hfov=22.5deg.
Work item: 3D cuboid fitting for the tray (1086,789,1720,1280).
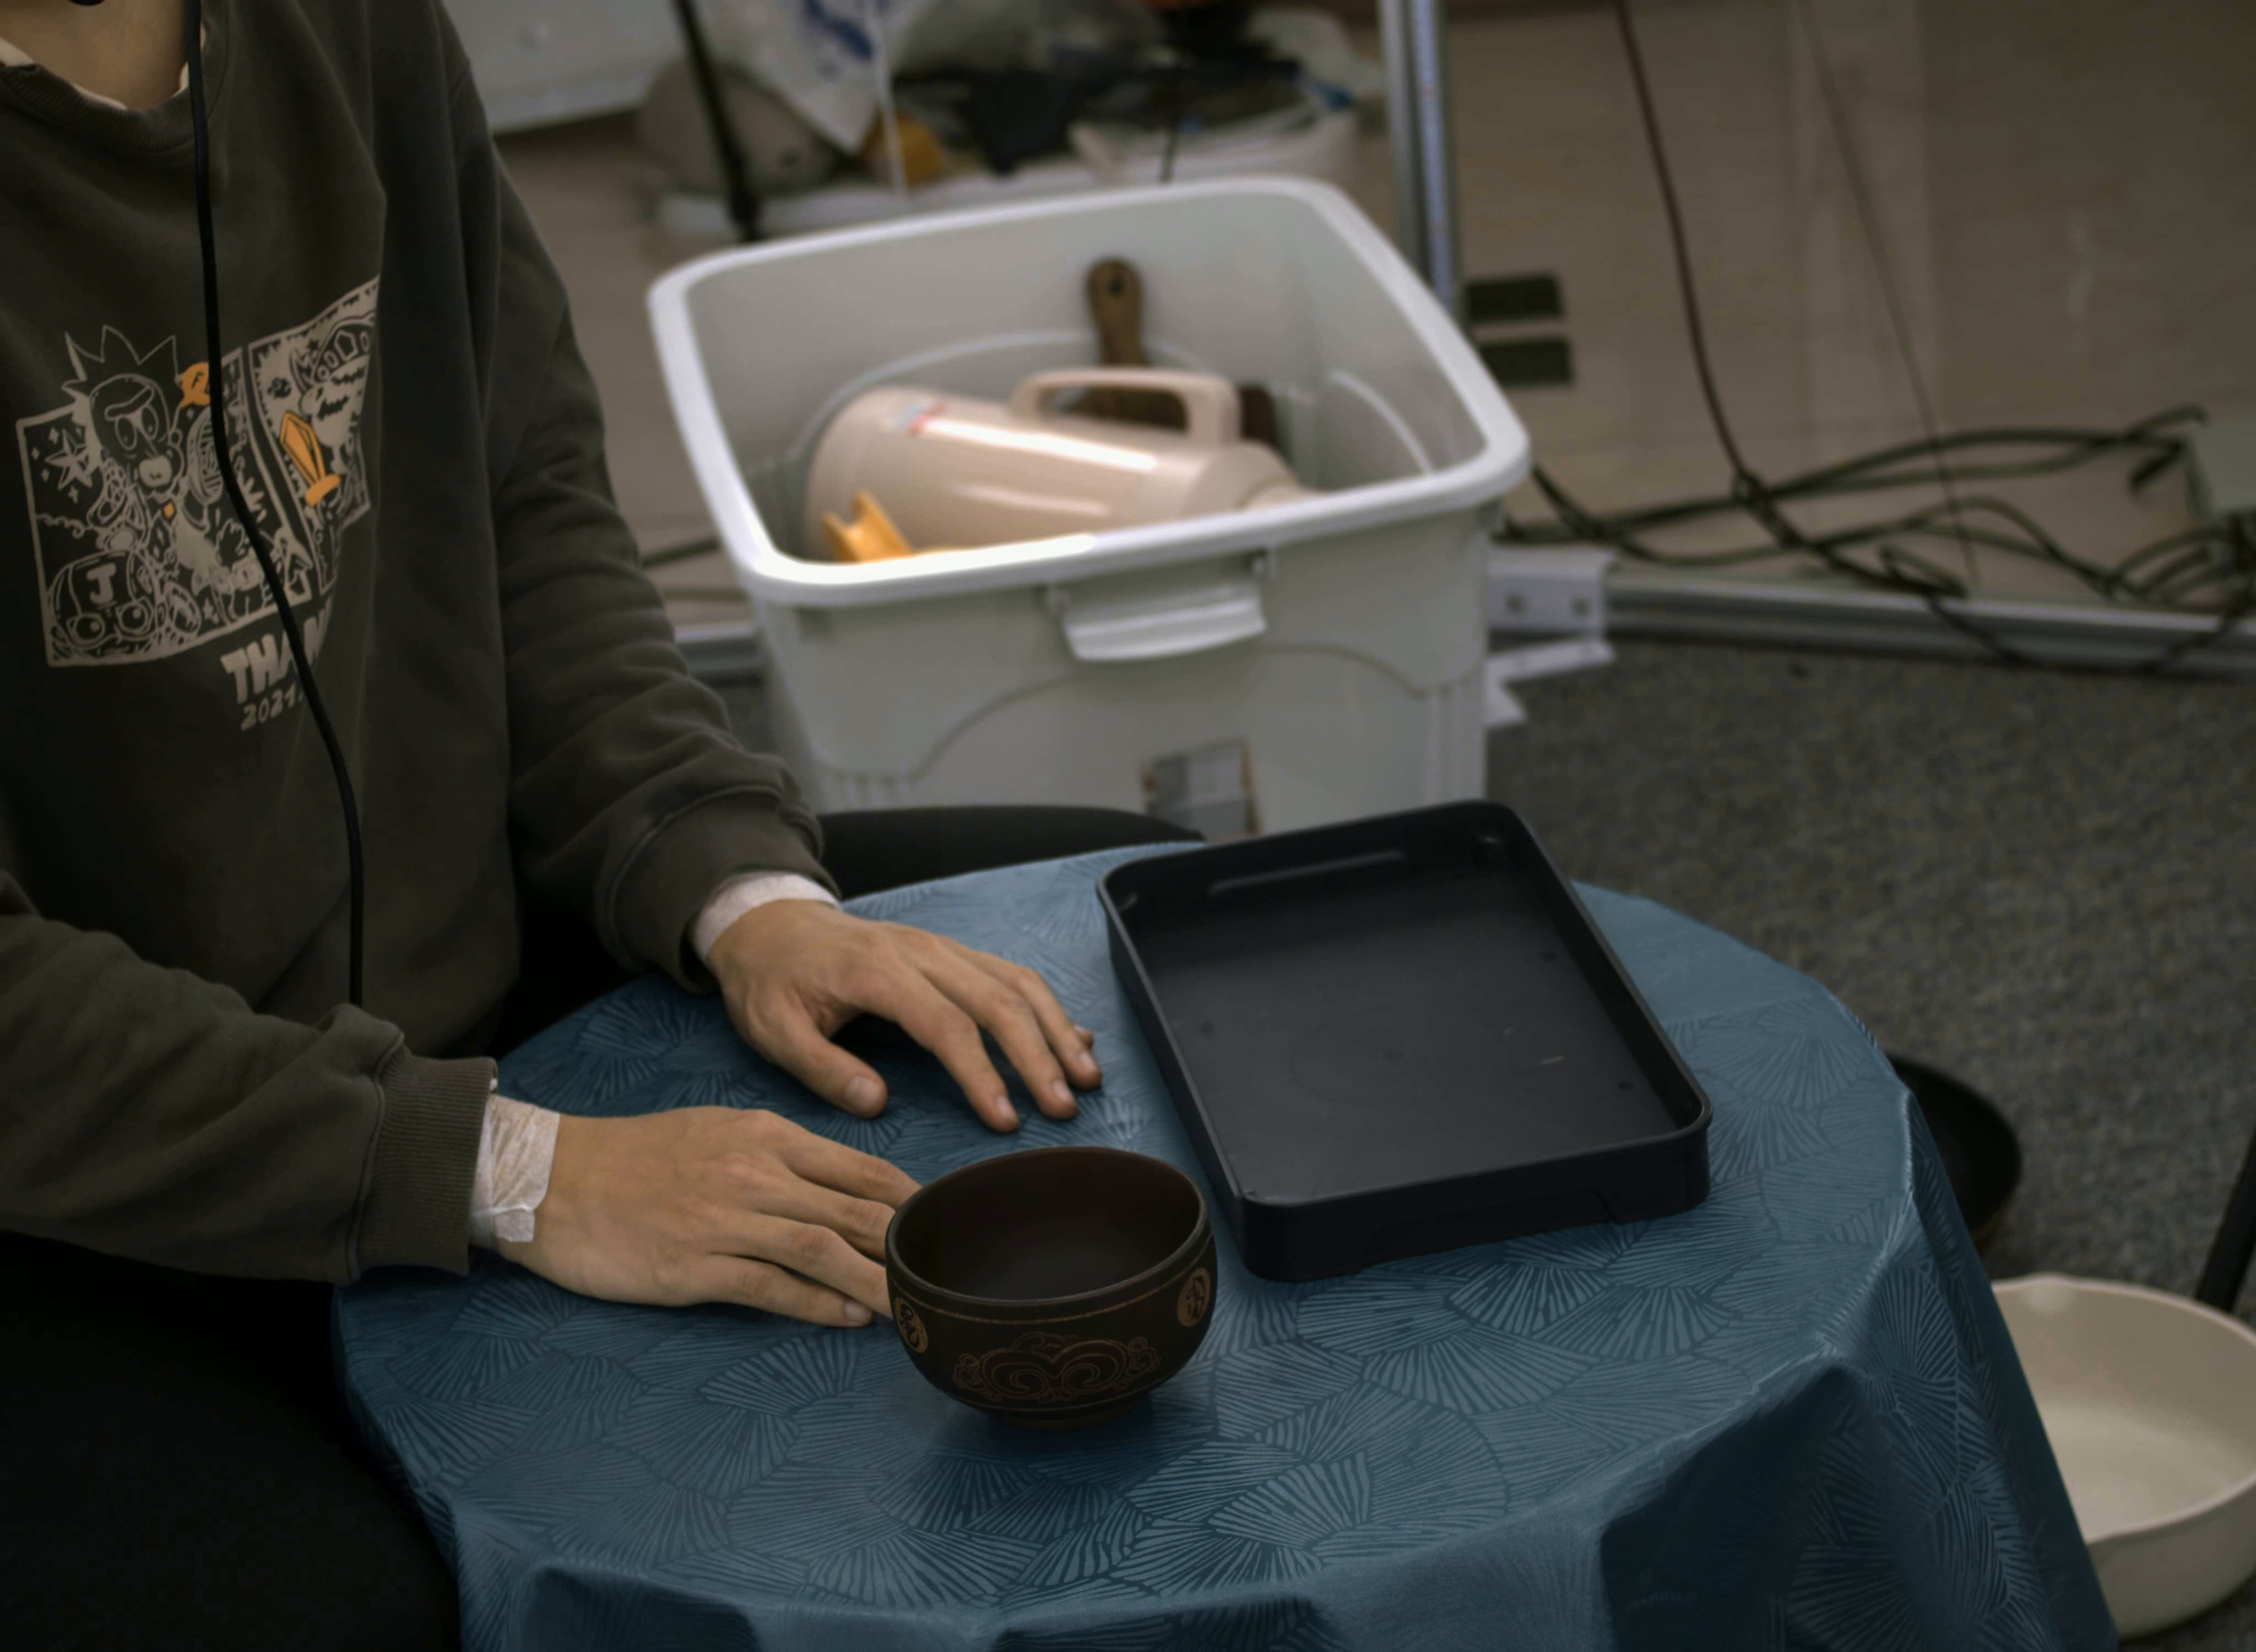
[{"bbox_3d":[0.102,0.076,2.214,0.184,0.037,0.313,-11,26,-8],"label":"tray"}]

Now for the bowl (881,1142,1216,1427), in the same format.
[{"bbox_3d":[-0.026,0.168,2.004,0.118,0.071,0.116,-7,25,3],"label":"bowl"}]
